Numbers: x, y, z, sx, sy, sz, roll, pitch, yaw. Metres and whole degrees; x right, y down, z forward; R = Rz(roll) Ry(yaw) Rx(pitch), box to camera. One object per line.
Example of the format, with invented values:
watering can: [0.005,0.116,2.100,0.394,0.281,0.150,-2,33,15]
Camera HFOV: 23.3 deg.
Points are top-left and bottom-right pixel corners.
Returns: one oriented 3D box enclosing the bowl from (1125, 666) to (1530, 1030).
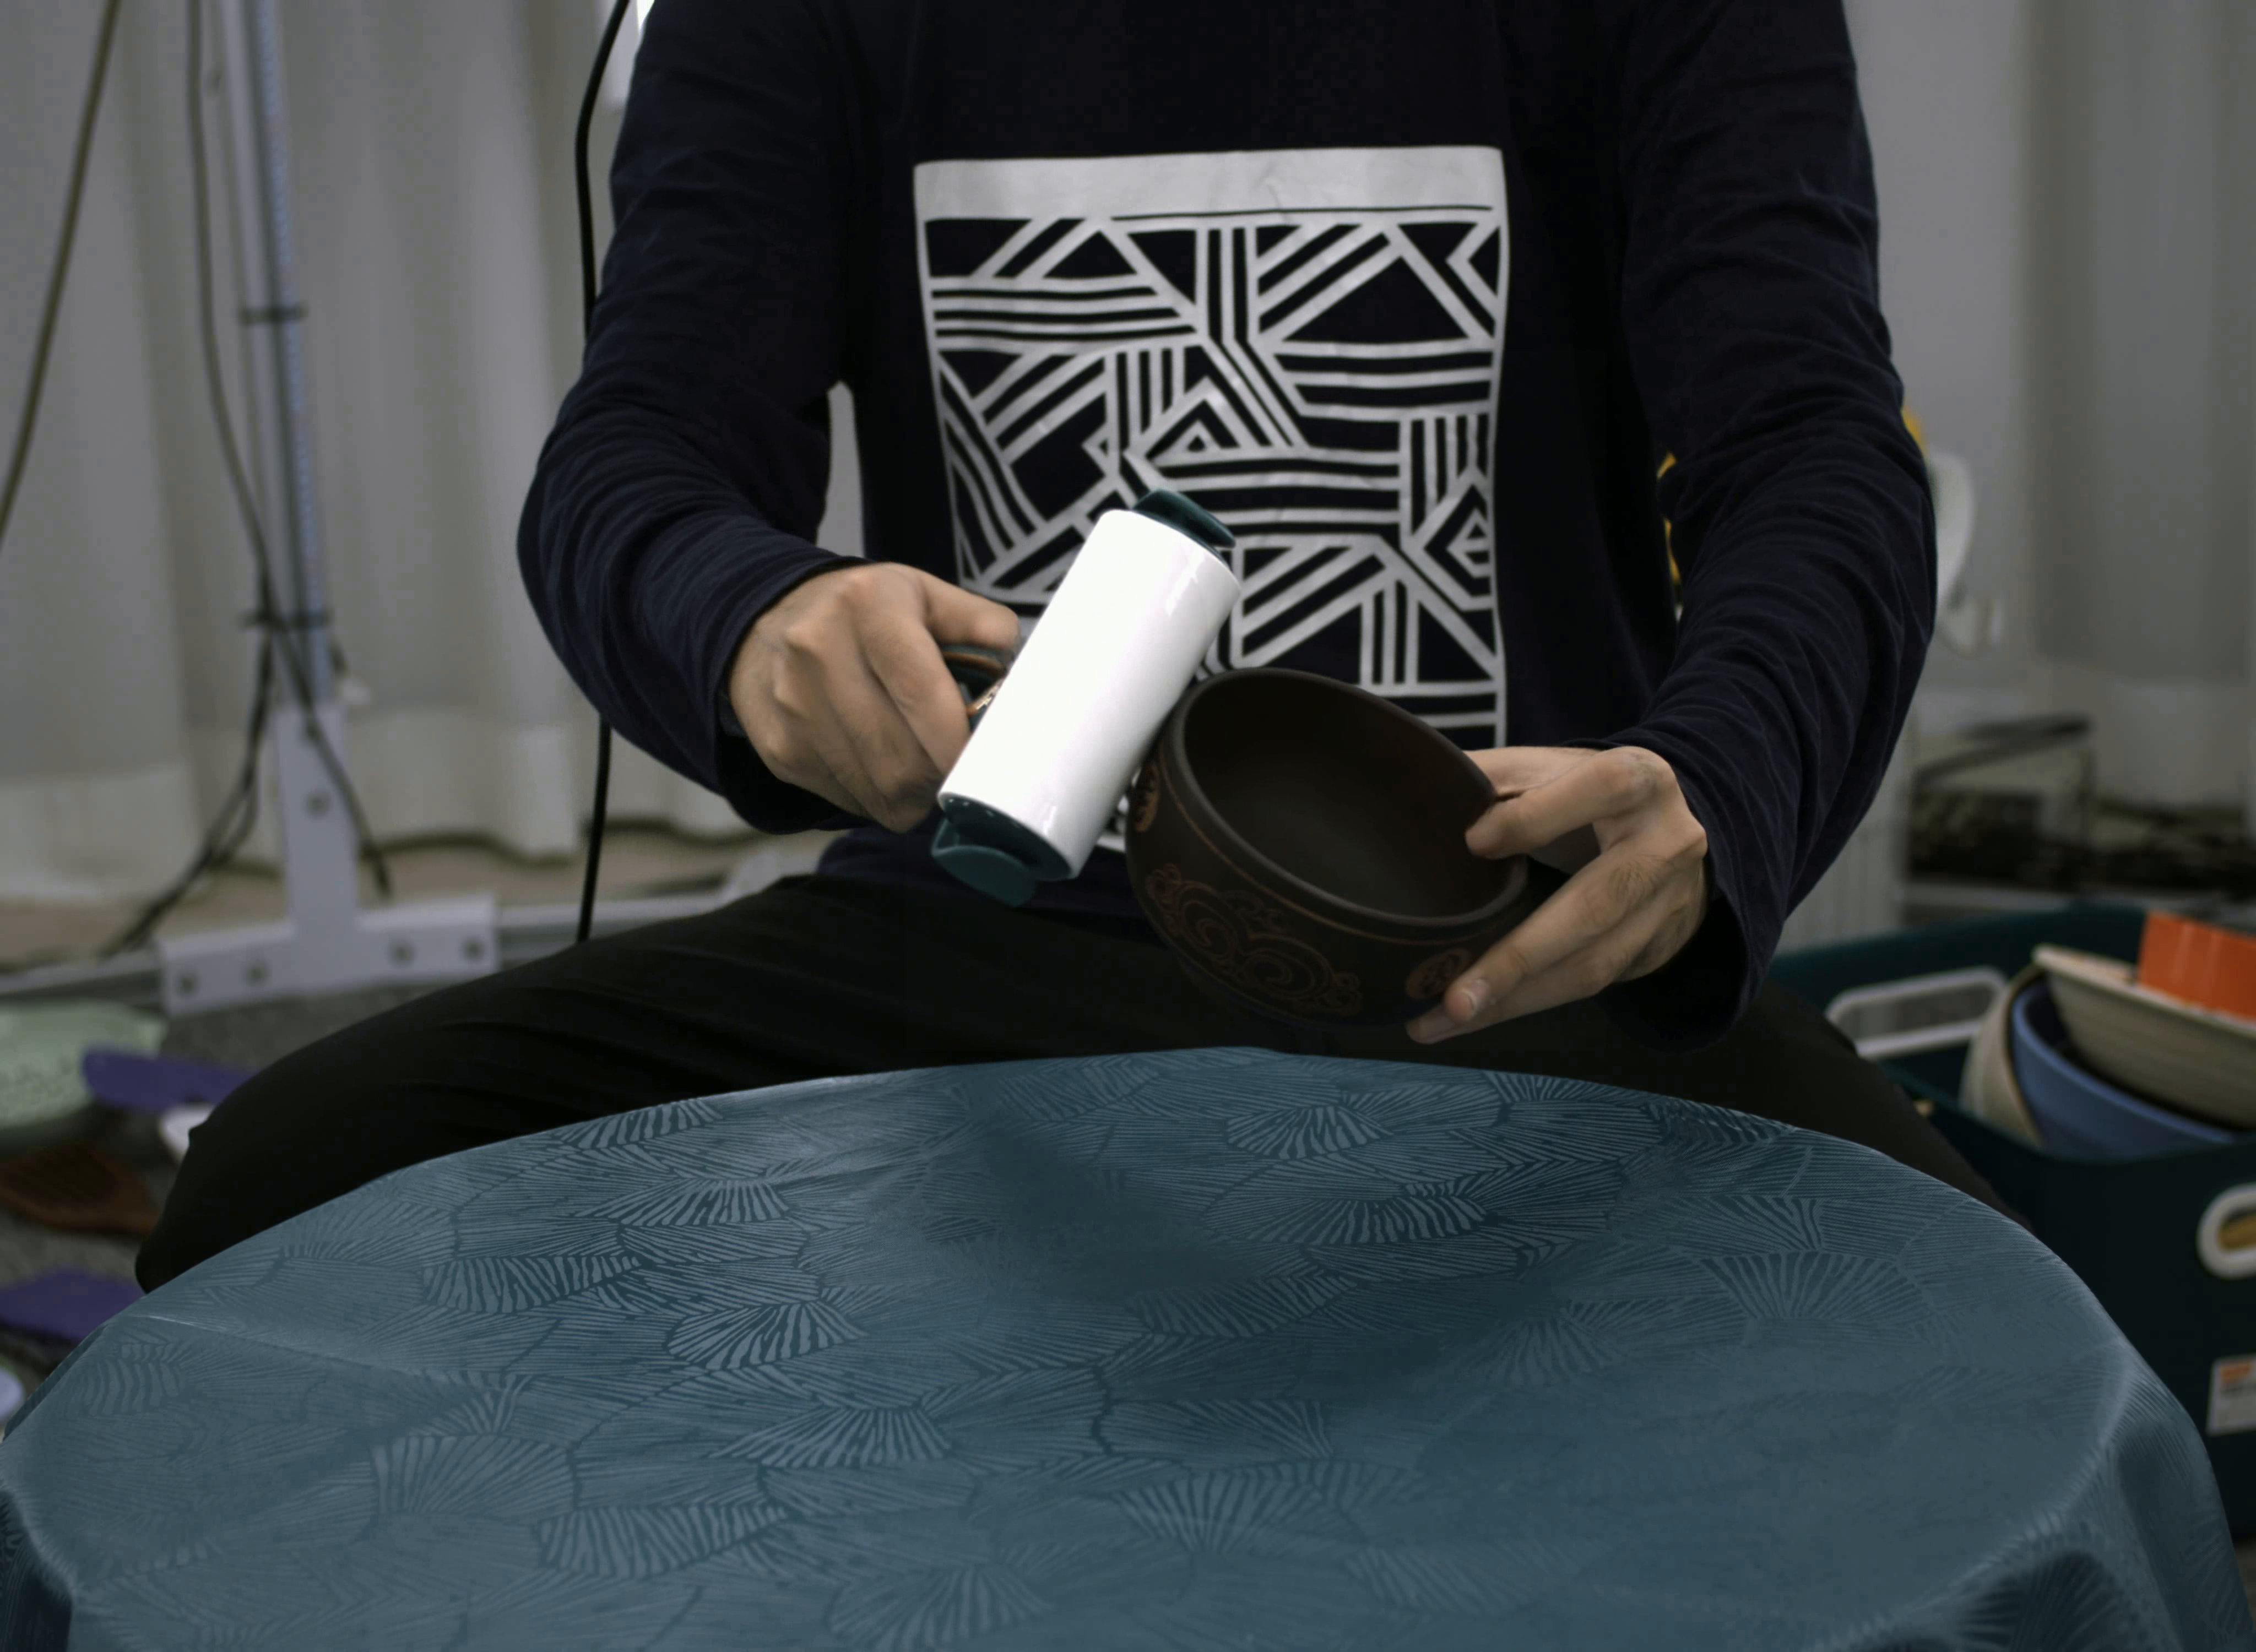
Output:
bowl: [0.052,0.015,1.602,0.117,0.069,0.119,18,31,-12]

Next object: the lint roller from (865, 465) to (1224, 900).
lint roller: [-0.048,-0.042,1.648,0.048,0.135,0.180,37,-17,-26]
